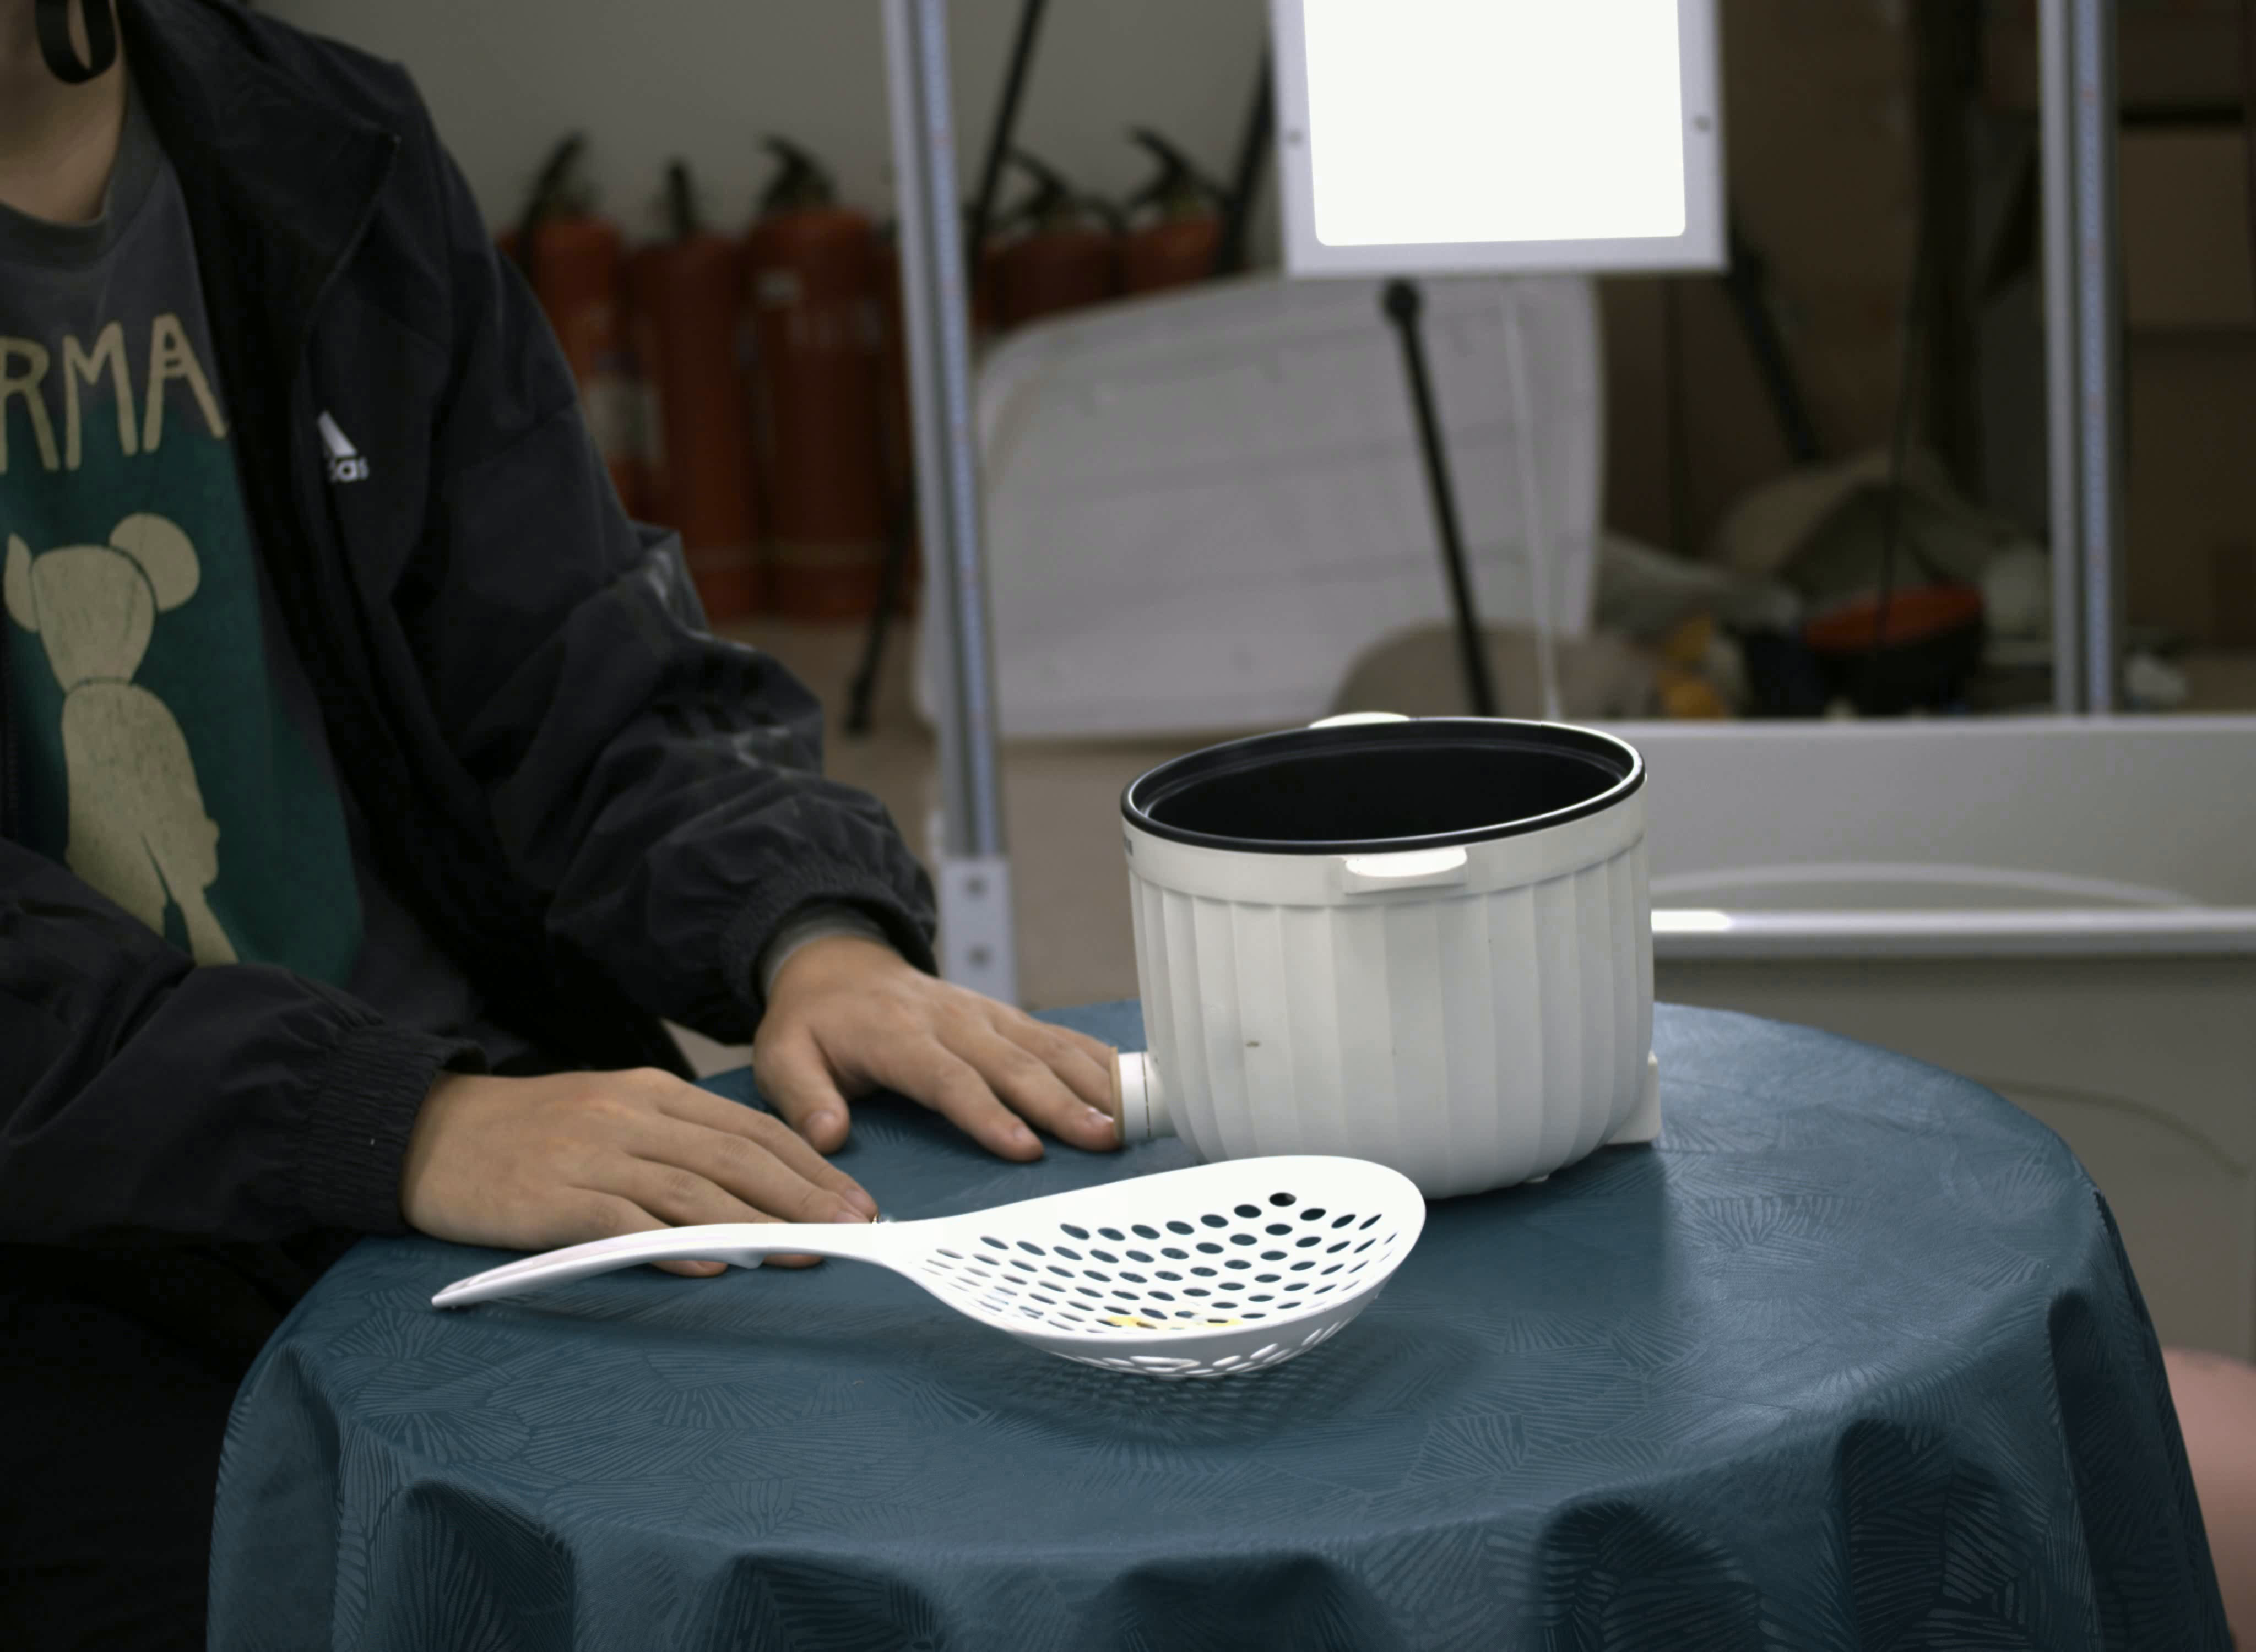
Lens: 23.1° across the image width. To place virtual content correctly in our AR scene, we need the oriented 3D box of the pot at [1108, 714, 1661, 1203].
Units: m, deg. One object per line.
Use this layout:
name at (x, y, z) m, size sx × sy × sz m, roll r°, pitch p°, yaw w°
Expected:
pot at (0.087, 0.048, 1.894) m, size 0.190 × 0.143 × 0.240 m, roll -2°, pitch 12°, yaw -1°

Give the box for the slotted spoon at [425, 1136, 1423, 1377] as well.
slotted spoon at (-0.072, 0.143, 1.764) m, size 0.353 × 0.050 × 0.134 m, roll 1°, pitch 23°, yaw 25°
